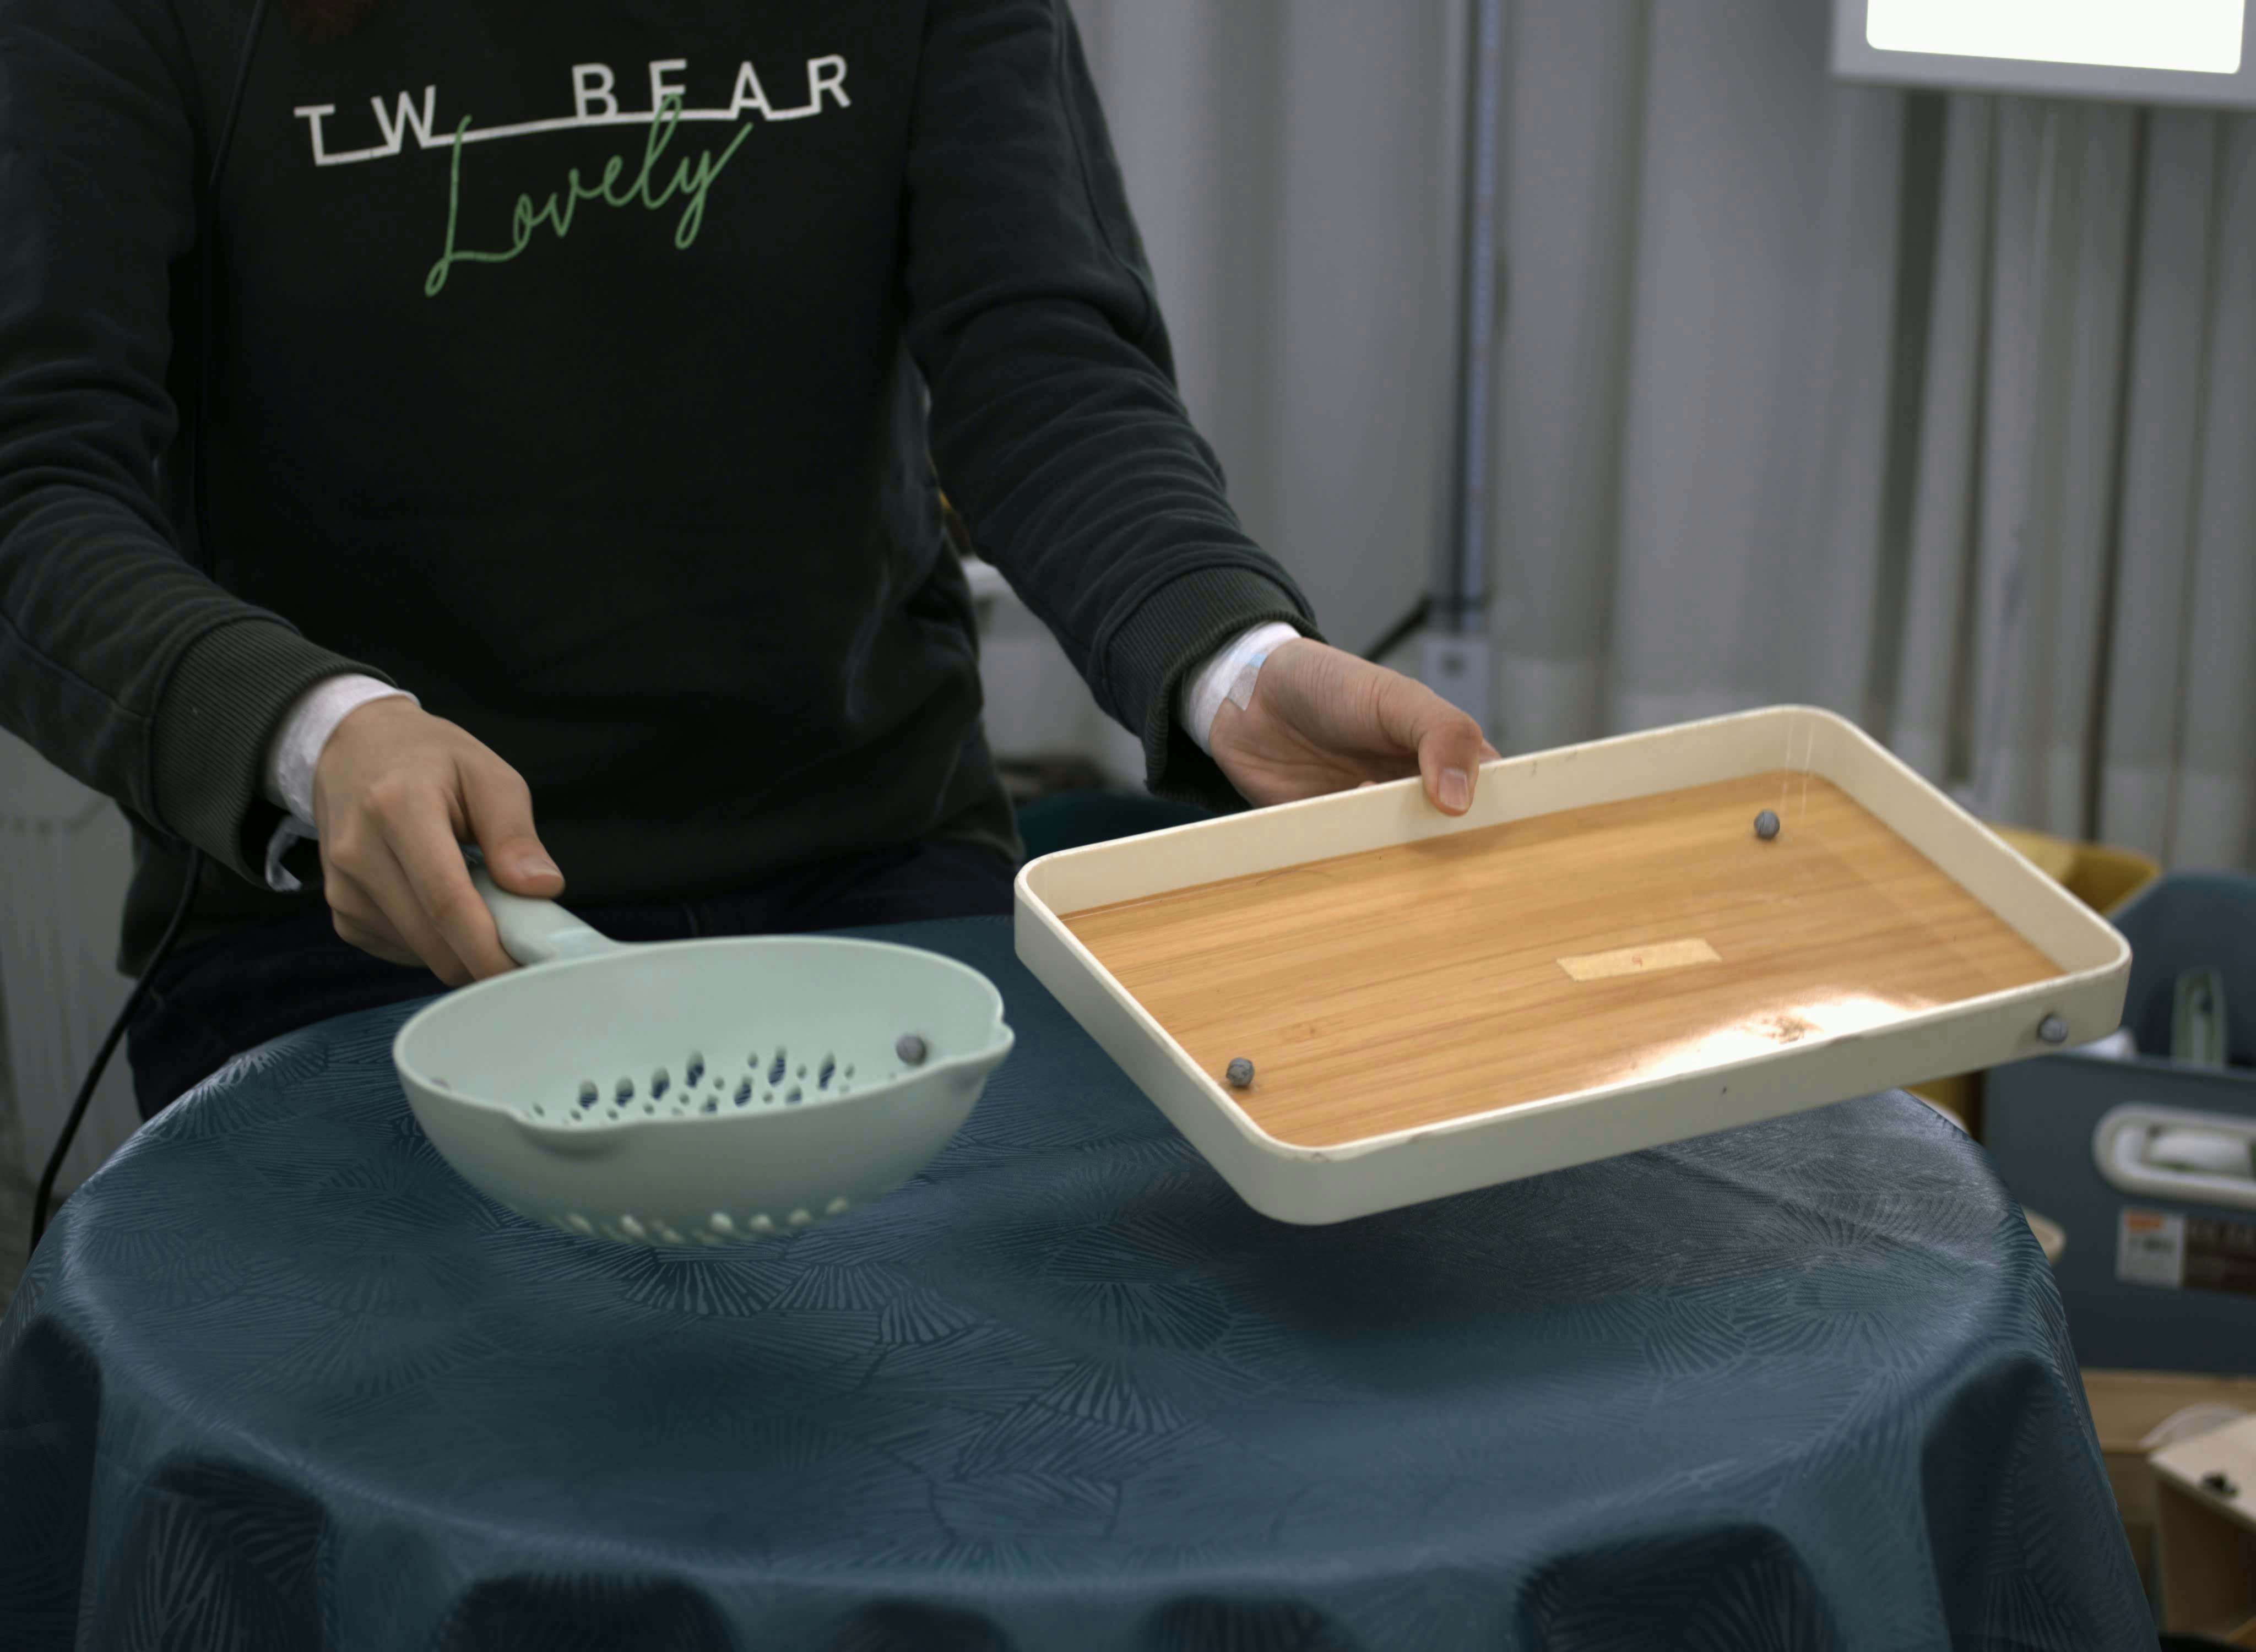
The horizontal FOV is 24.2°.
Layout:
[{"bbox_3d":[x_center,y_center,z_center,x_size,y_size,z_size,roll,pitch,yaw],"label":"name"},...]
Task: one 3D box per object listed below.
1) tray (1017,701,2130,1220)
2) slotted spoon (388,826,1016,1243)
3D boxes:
[{"bbox_3d":[0.134,0.036,1.607,0.301,0.028,0.189,-11,32,-24],"label":"tray"},{"bbox_3d":[-0.159,0.044,1.539,0.170,0.076,0.354,-9,24,-23],"label":"slotted spoon"}]
